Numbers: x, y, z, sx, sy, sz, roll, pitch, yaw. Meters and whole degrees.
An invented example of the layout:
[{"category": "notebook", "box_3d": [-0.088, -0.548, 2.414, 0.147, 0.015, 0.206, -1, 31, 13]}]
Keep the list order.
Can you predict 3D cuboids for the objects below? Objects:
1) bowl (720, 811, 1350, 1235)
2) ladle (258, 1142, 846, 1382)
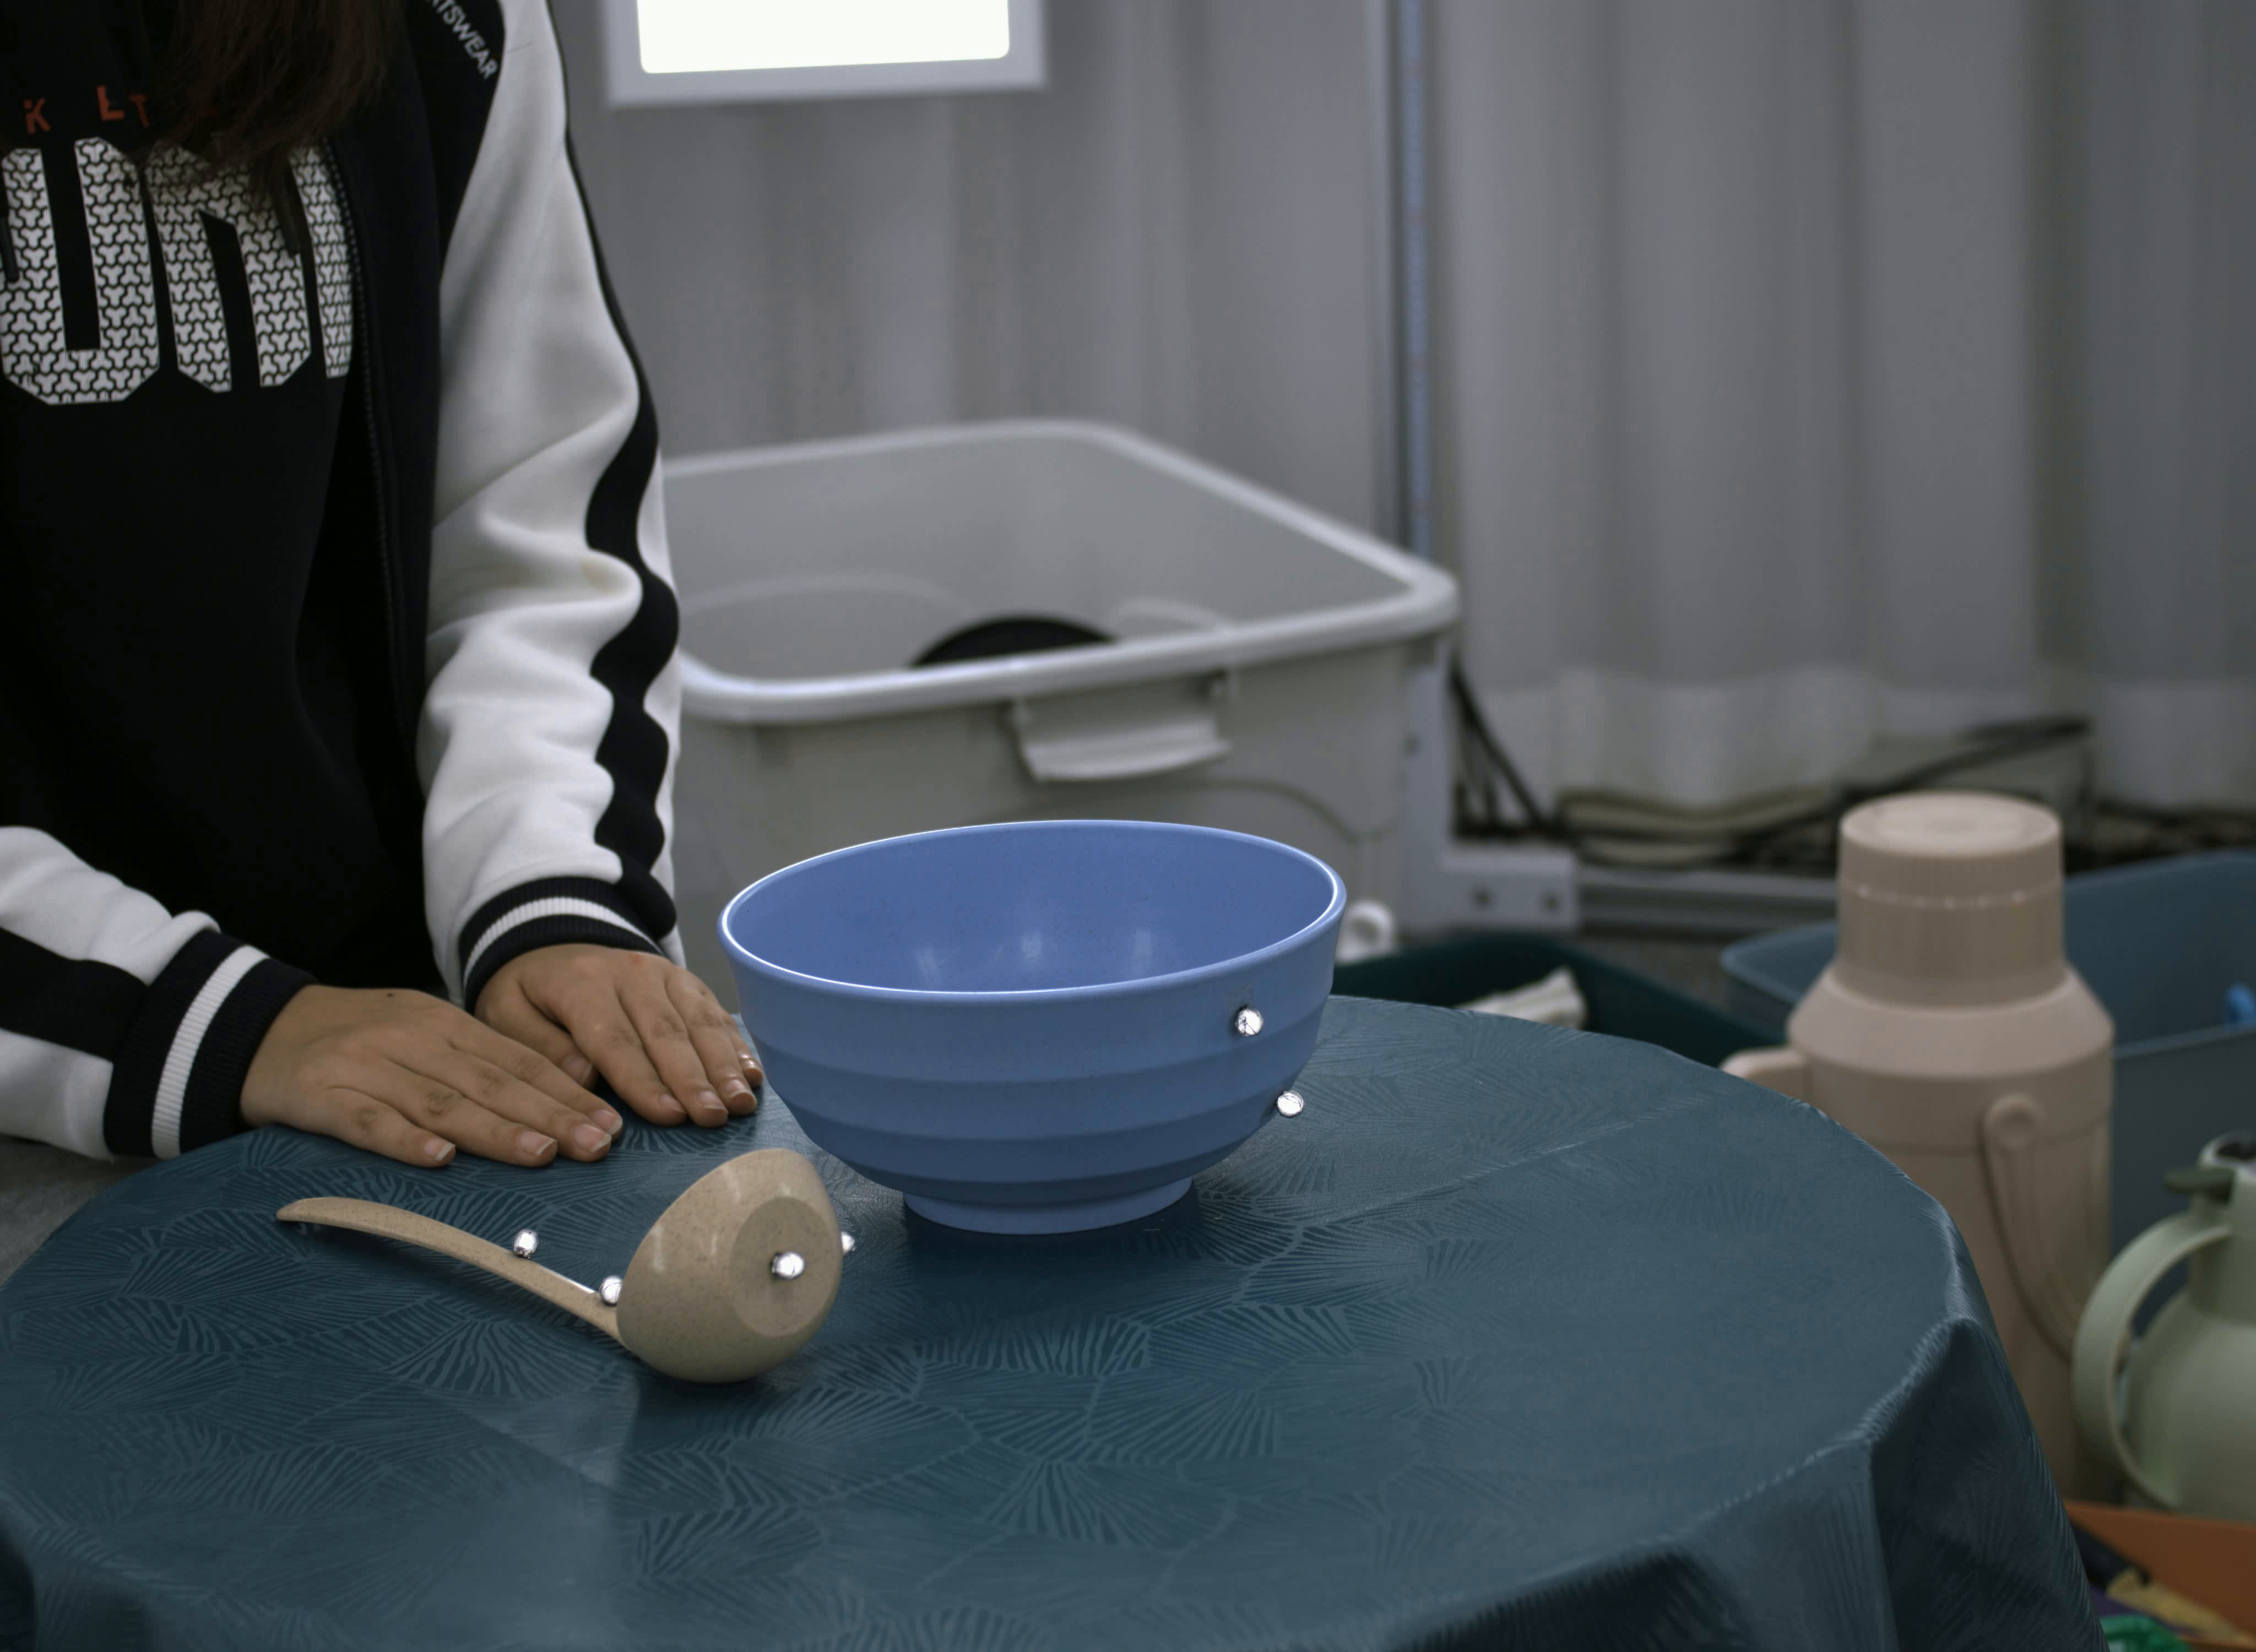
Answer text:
[{"category": "bowl", "box_3d": [-0.028, 0.068, 1.711, 0.196, 0.095, 0.198, -1, 16, 0]}, {"category": "ladle", "box_3d": [-0.183, 0.109, 1.631, 0.072, 0.072, 0.256, -13, 18, -42]}]
